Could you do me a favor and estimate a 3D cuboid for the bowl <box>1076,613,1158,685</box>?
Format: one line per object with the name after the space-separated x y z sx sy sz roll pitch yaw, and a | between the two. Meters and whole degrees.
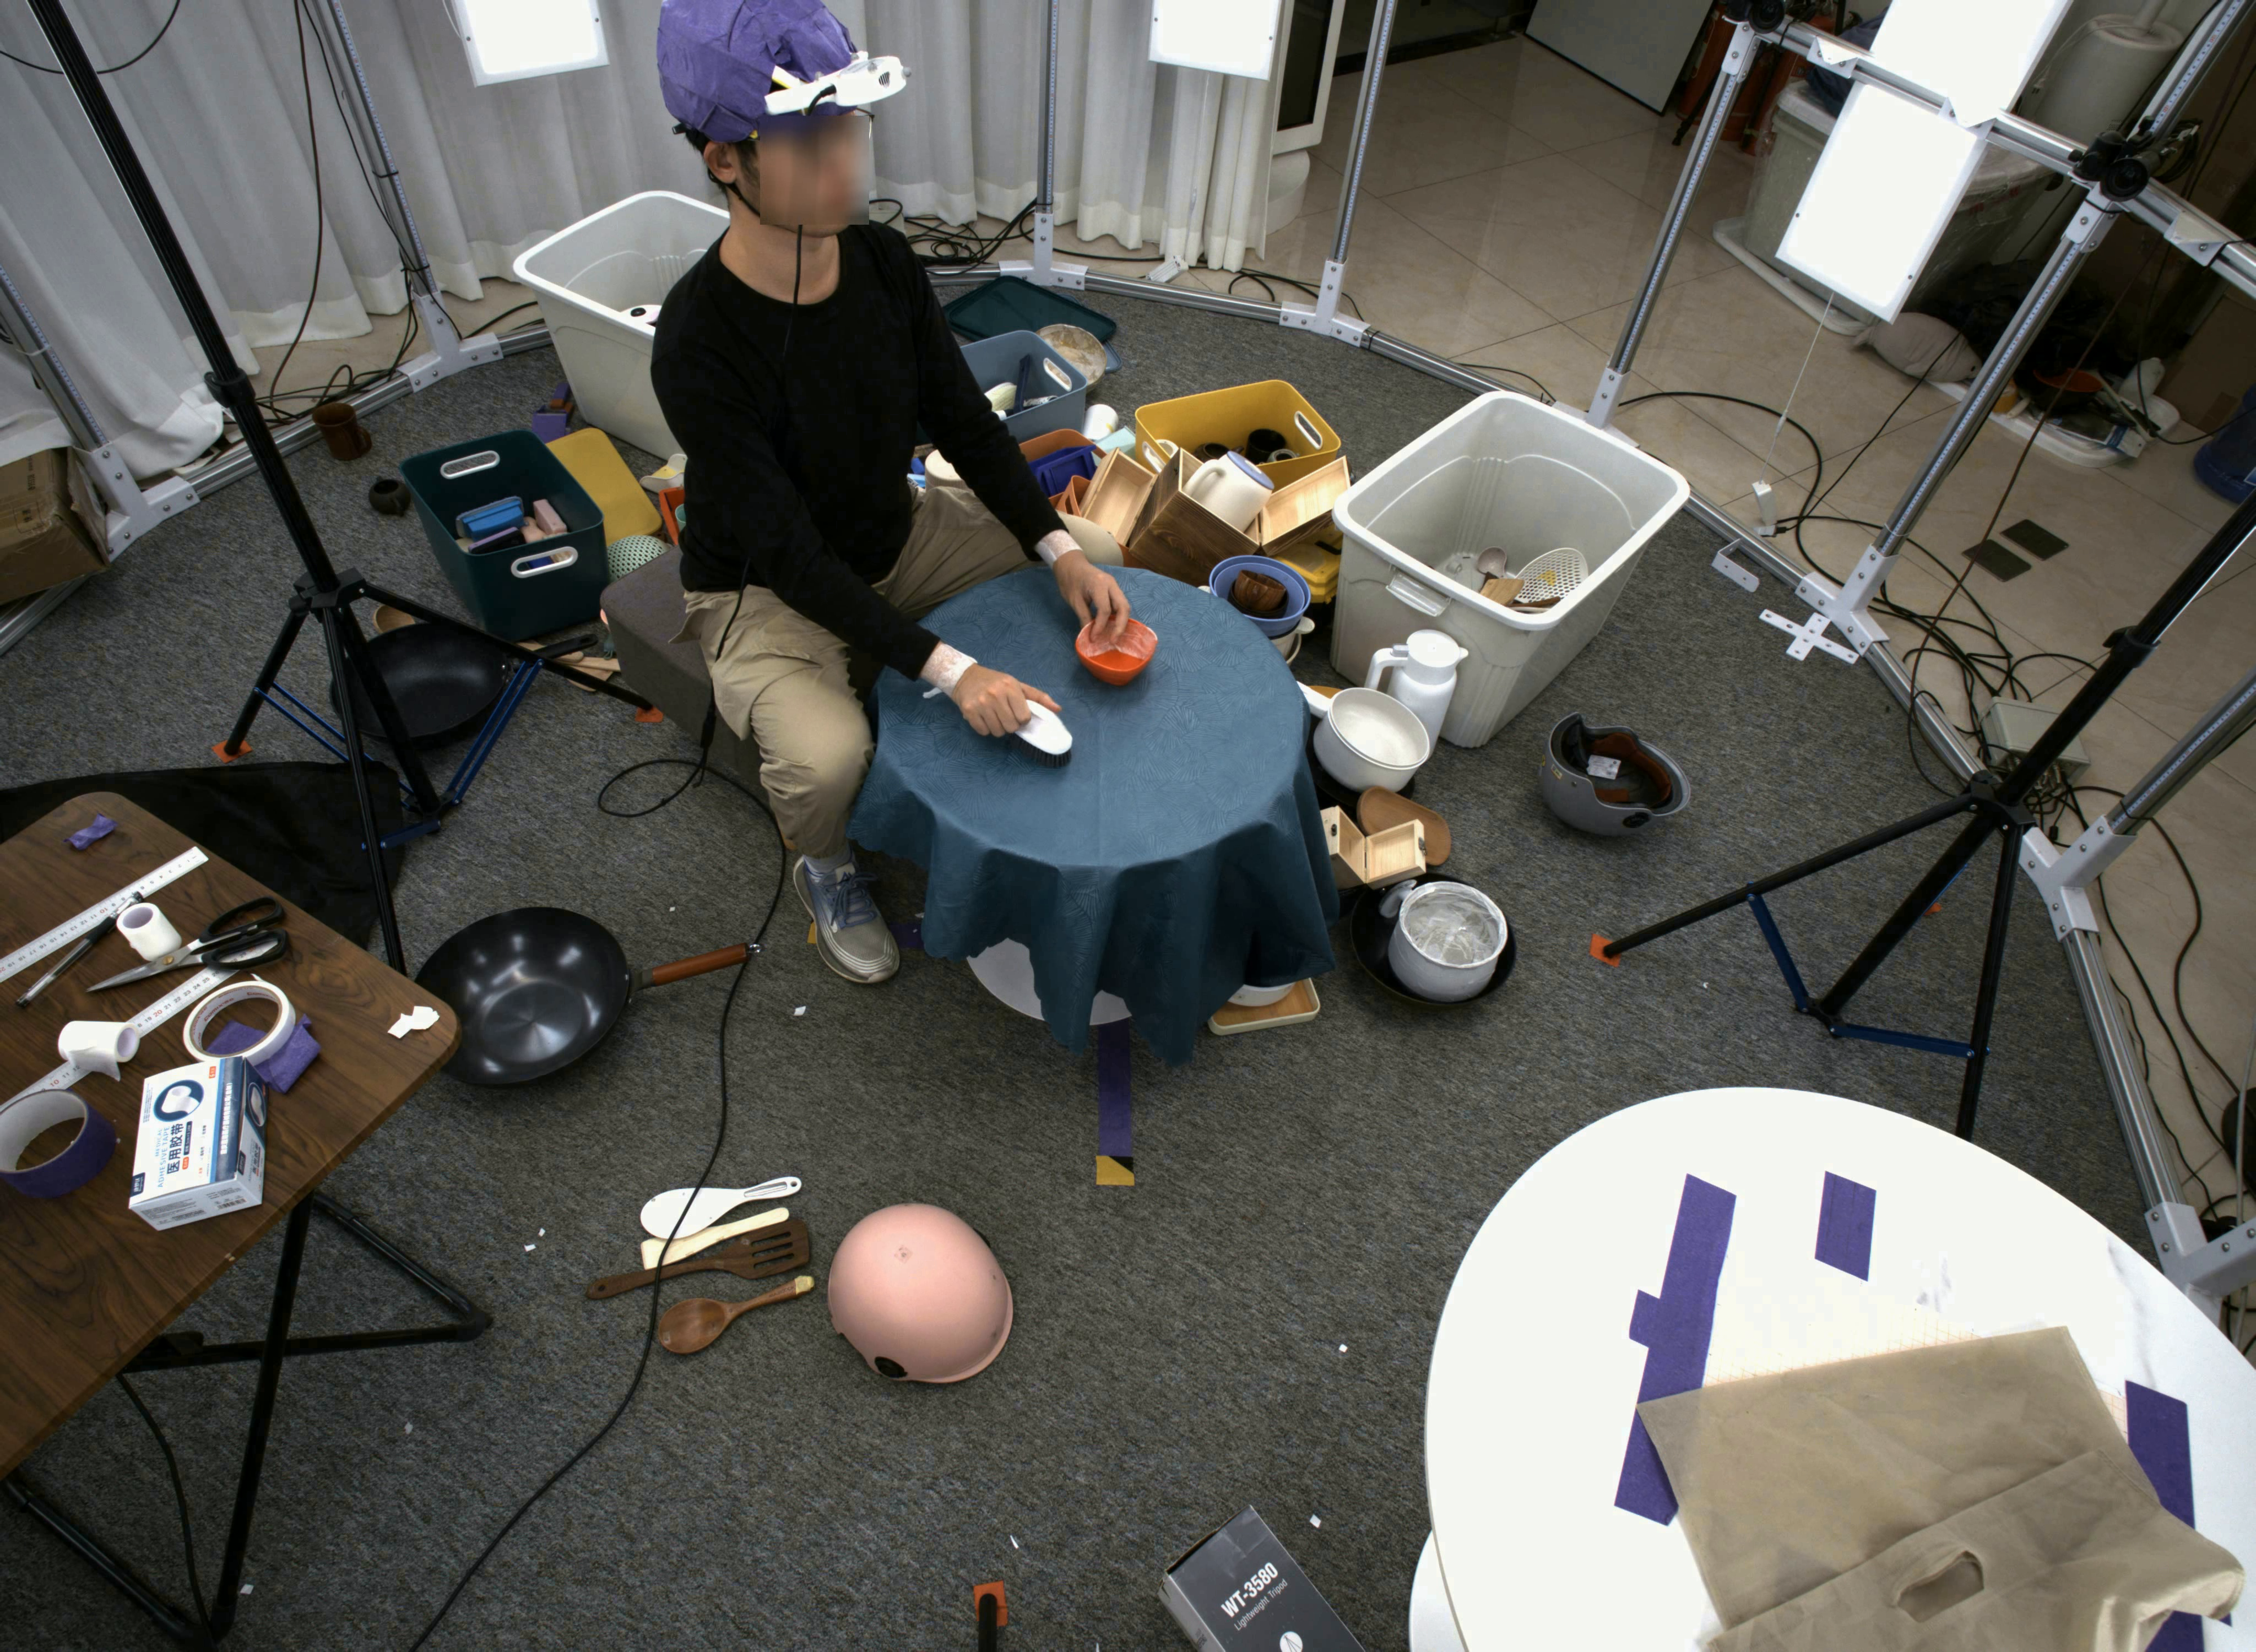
-0.018 -0.248 1.850 0.119 0.050 0.122 3 52 -4 | bowl

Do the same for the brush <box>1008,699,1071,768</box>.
-0.120 -0.132 1.729 0.100 0.071 0.051 36 56 24 | brush
